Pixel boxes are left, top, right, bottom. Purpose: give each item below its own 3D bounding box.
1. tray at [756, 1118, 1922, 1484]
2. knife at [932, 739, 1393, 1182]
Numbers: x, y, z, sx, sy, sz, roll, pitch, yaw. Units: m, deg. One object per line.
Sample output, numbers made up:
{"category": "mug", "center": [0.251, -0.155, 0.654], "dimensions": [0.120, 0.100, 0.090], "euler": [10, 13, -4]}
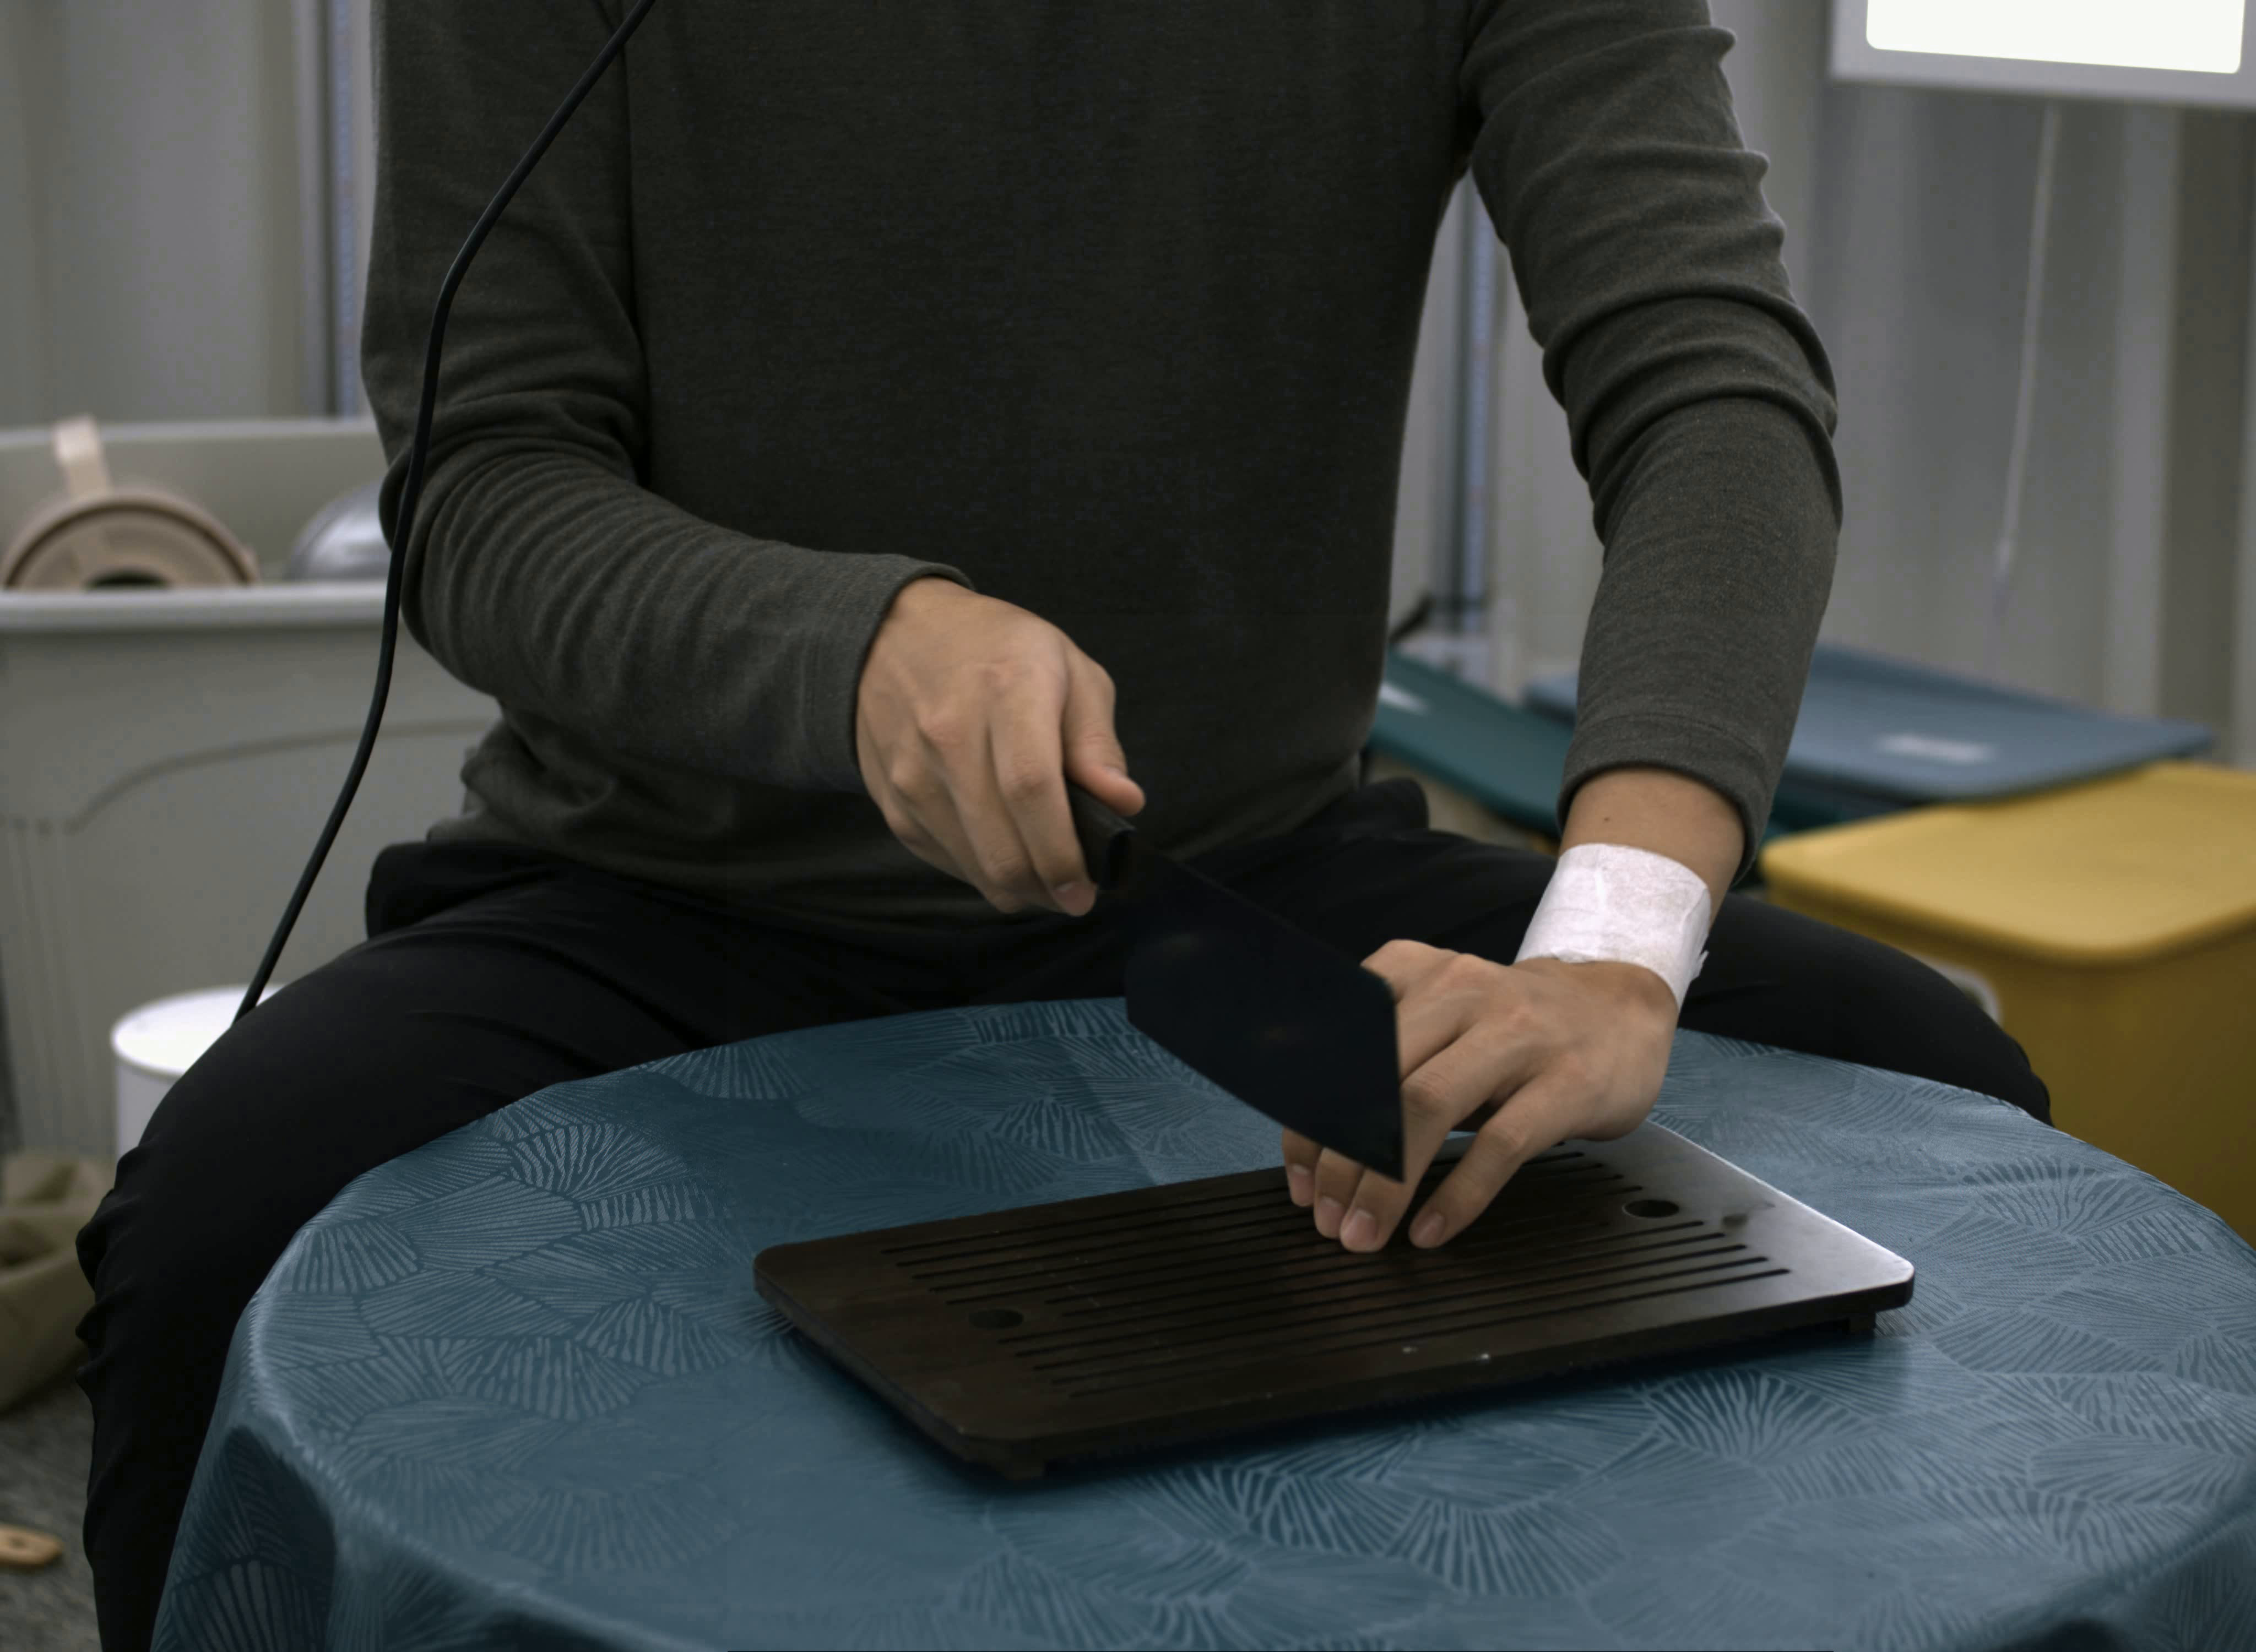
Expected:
{"category": "tray", "center": [0.061, 0.134, 1.514], "dimensions": [0.307, 0.019, 0.168], "euler": [-7, 16, -26]}
{"category": "knife", "center": [0.008, 0.033, 1.580], "dimensions": [0.021, 0.082, 0.298], "euler": [-13, 24, -23]}
